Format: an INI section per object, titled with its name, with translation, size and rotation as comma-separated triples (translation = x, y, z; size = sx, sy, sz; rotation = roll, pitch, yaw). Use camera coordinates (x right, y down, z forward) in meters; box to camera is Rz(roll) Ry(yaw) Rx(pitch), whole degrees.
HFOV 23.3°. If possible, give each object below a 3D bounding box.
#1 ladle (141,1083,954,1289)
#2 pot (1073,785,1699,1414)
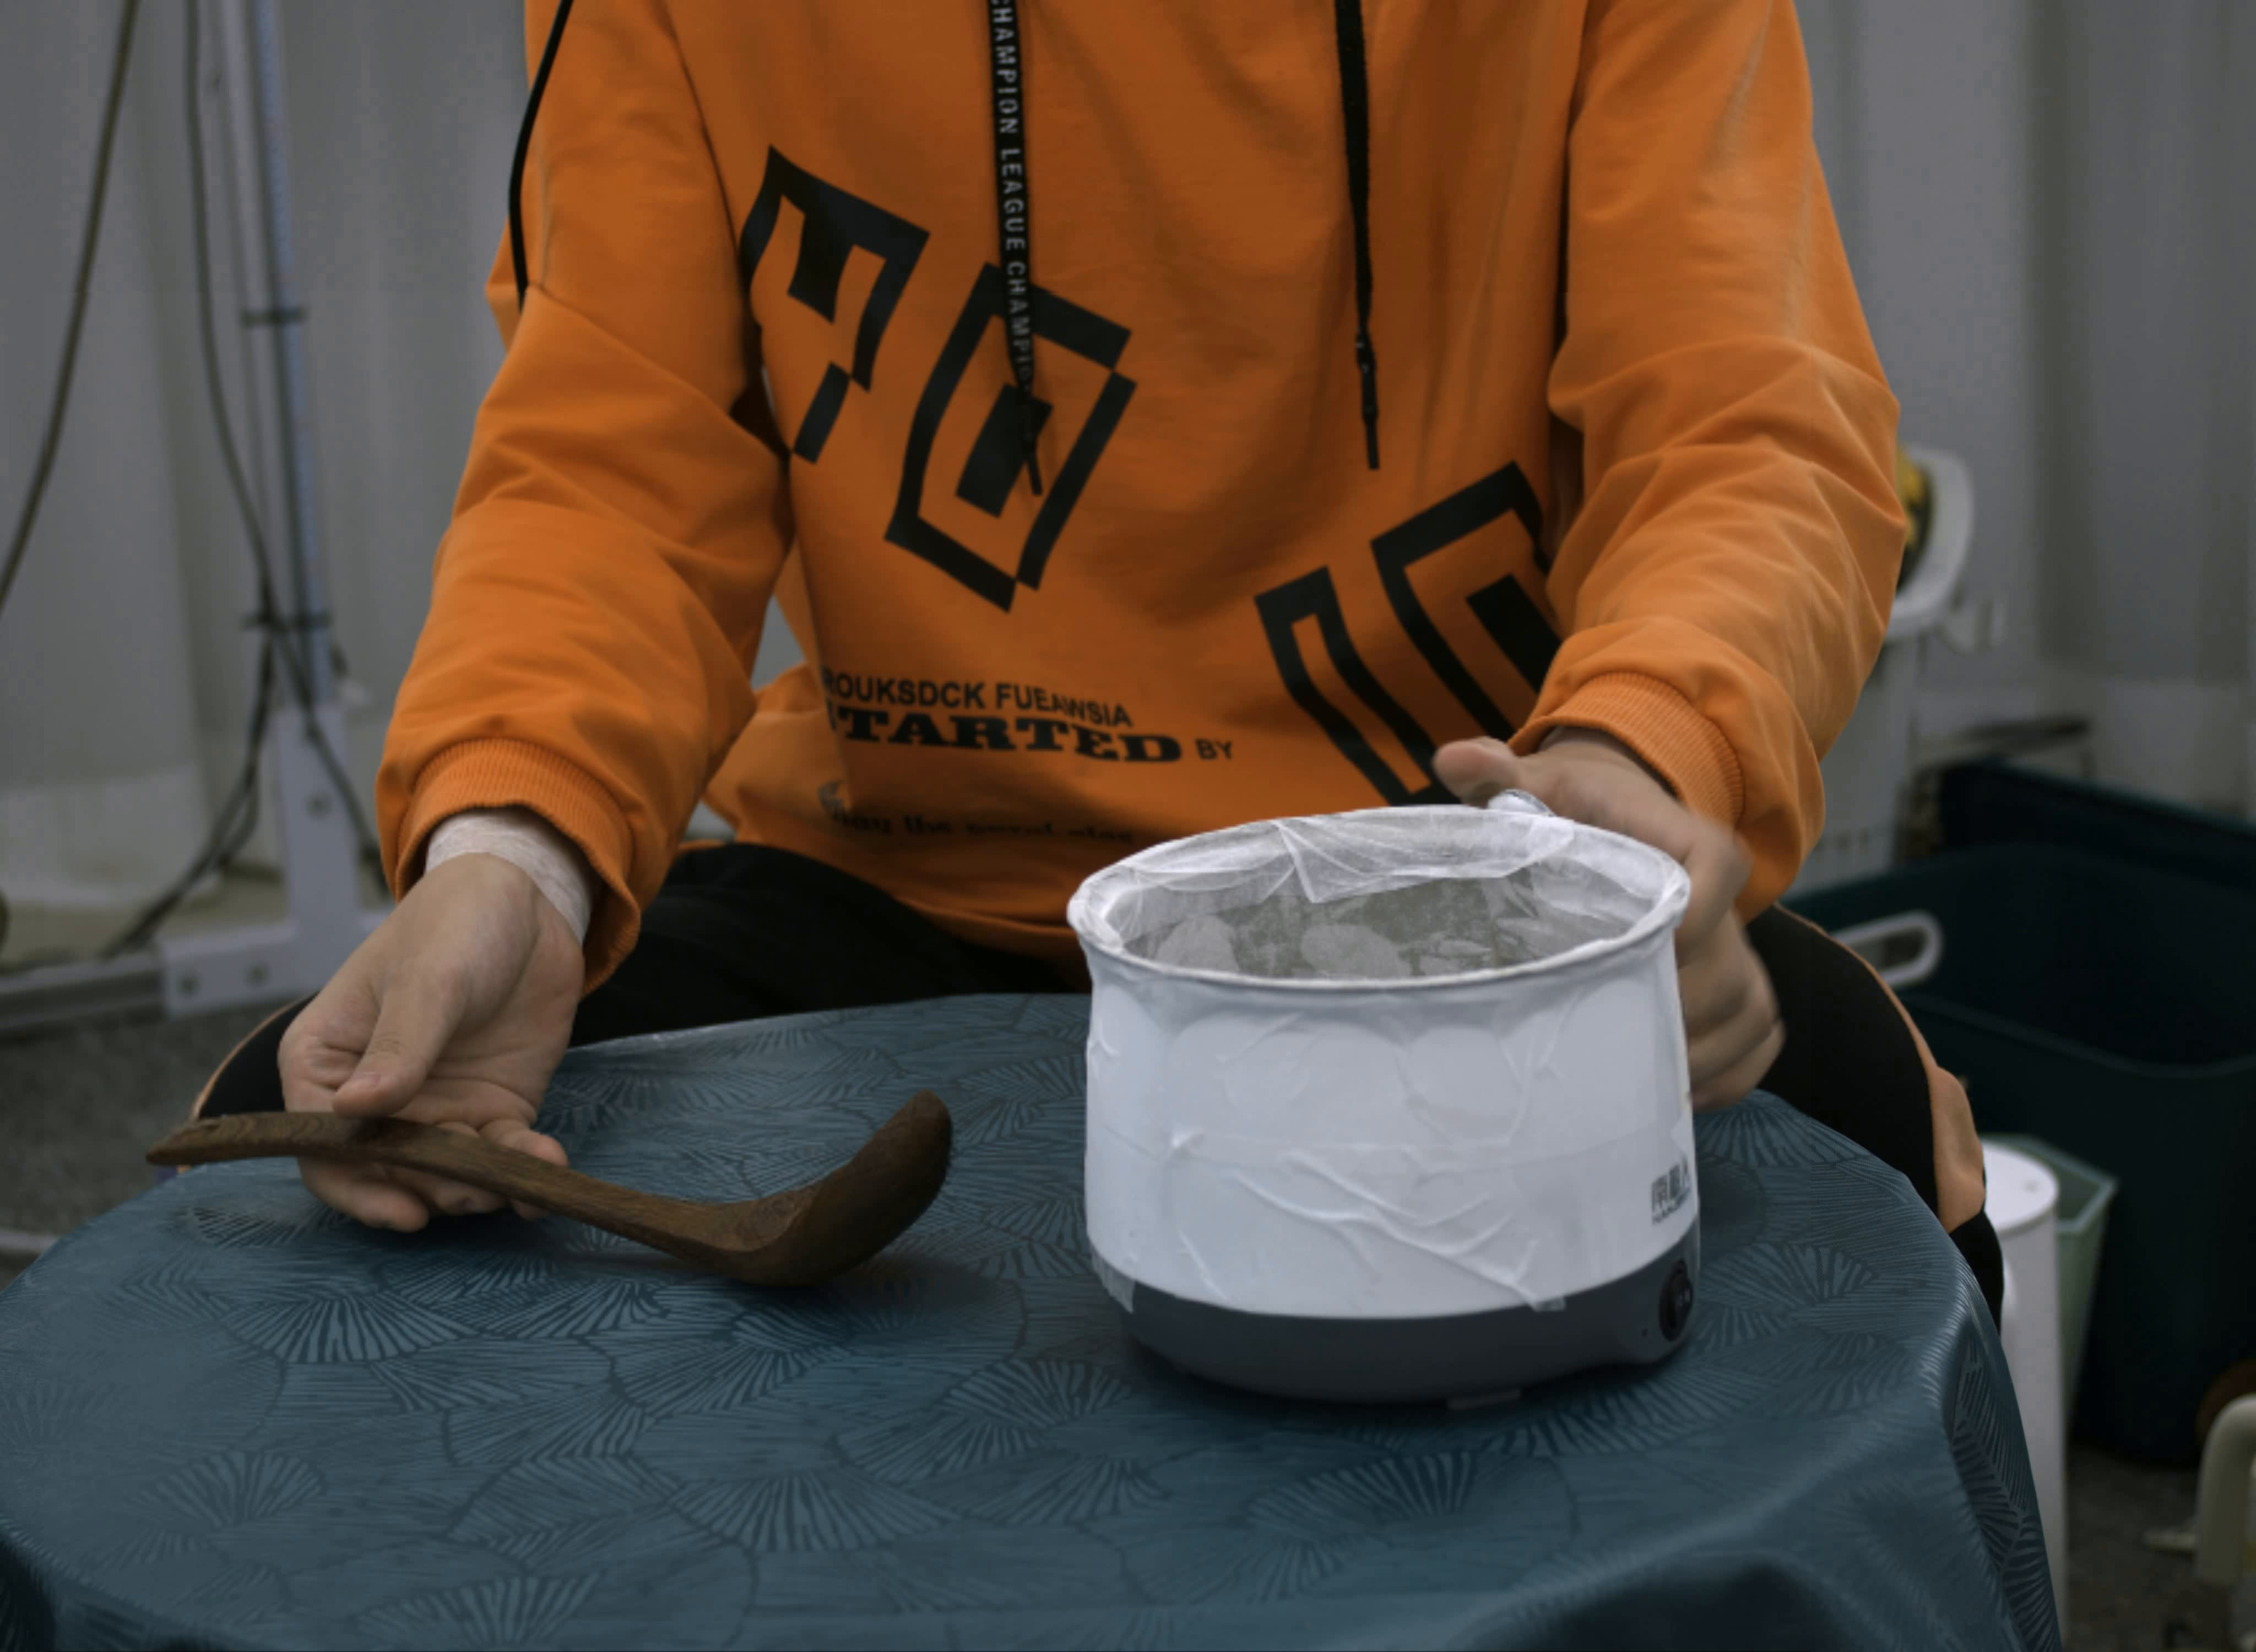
[ladle]
translation = -0.182, 0.092, 1.676
size = 0.274, 0.071, 0.076
rotation = 10, 18, 22
[pot]
translation = 0.086, 0.073, 1.591
size = 0.179, 0.136, 0.234
rotation = 5, 17, 25
